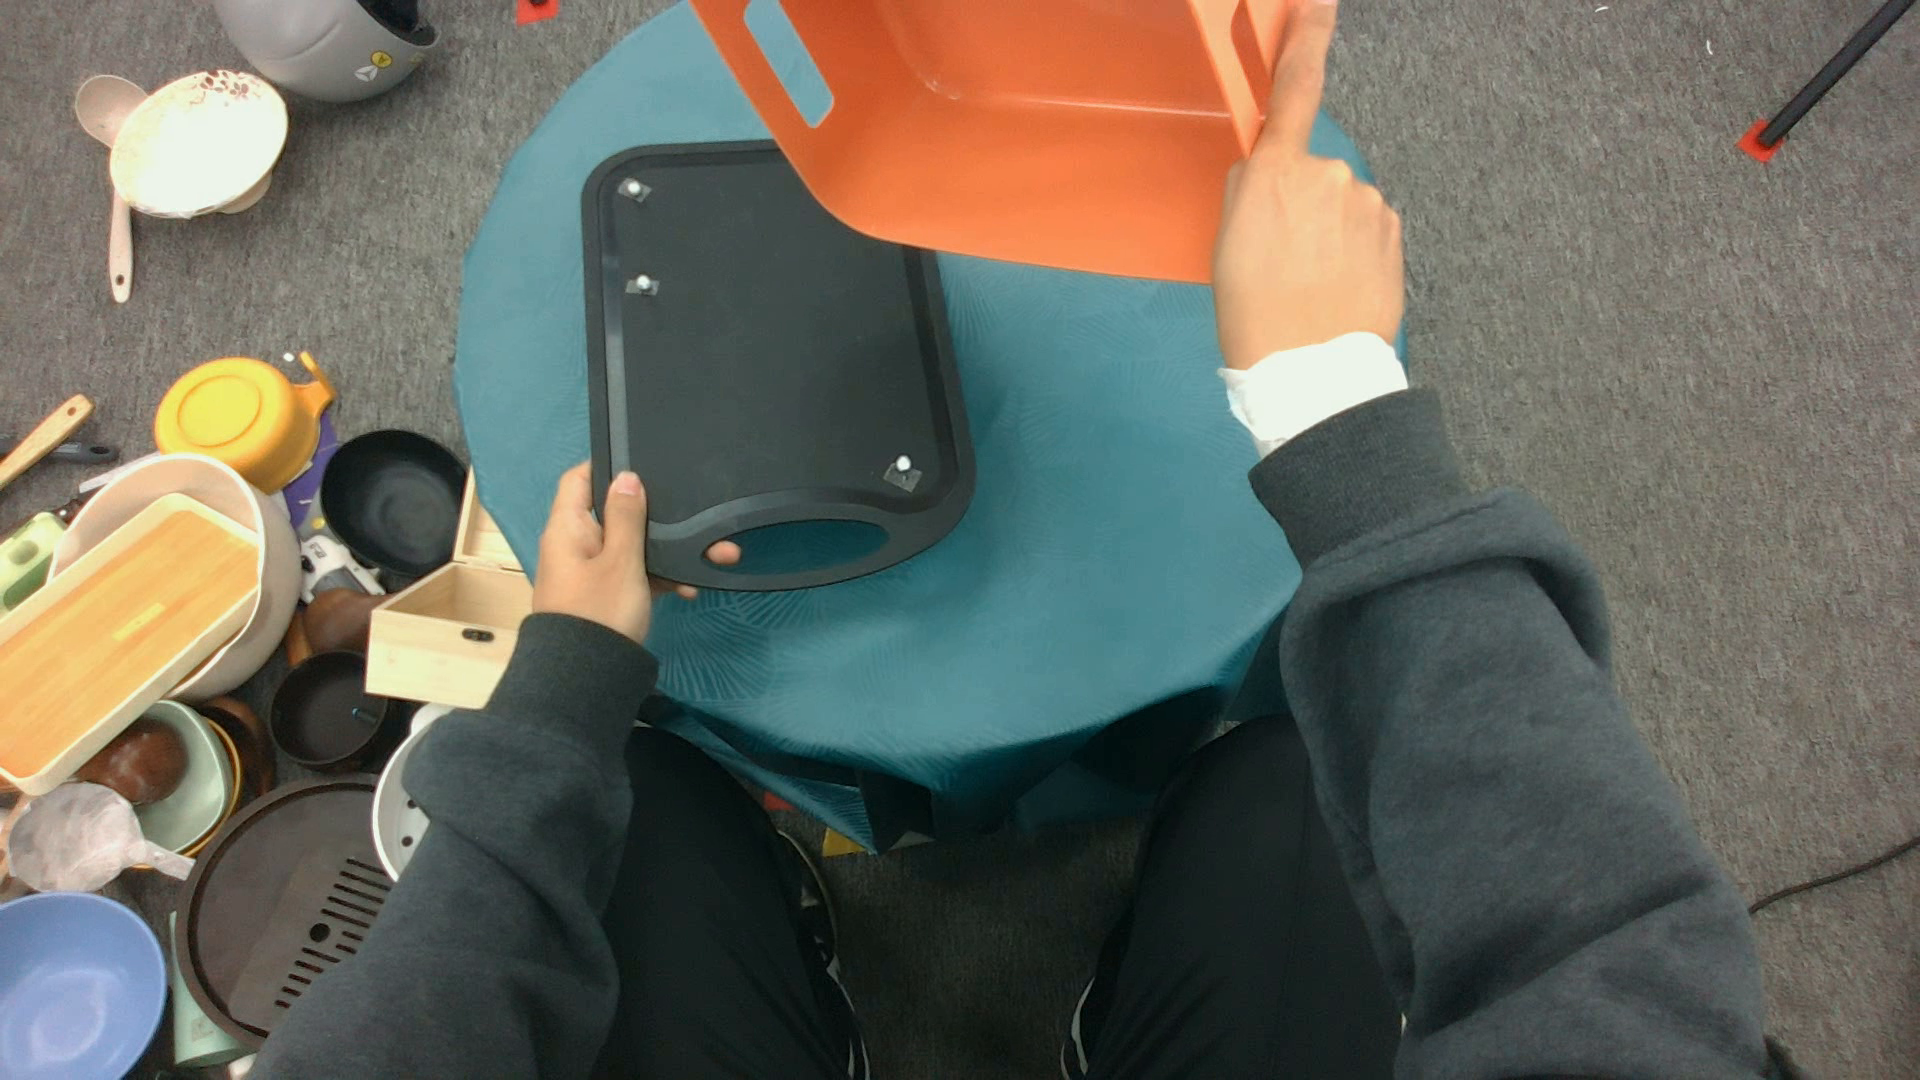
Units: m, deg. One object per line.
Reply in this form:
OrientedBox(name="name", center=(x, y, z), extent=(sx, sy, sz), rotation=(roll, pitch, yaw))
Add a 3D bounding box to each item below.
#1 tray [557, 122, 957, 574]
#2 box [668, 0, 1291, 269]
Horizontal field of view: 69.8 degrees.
OrientedBox(name="tray", center=(-0.121, -0.125, 0.795), extent=(0.211, 0.010, 0.326), rotation=(-6, 60, -9))
OrientedBox(name="box", center=(0.013, -0.238, 0.641), extent=(0.273, 0.199, 0.103), rotation=(16, 67, 32))
